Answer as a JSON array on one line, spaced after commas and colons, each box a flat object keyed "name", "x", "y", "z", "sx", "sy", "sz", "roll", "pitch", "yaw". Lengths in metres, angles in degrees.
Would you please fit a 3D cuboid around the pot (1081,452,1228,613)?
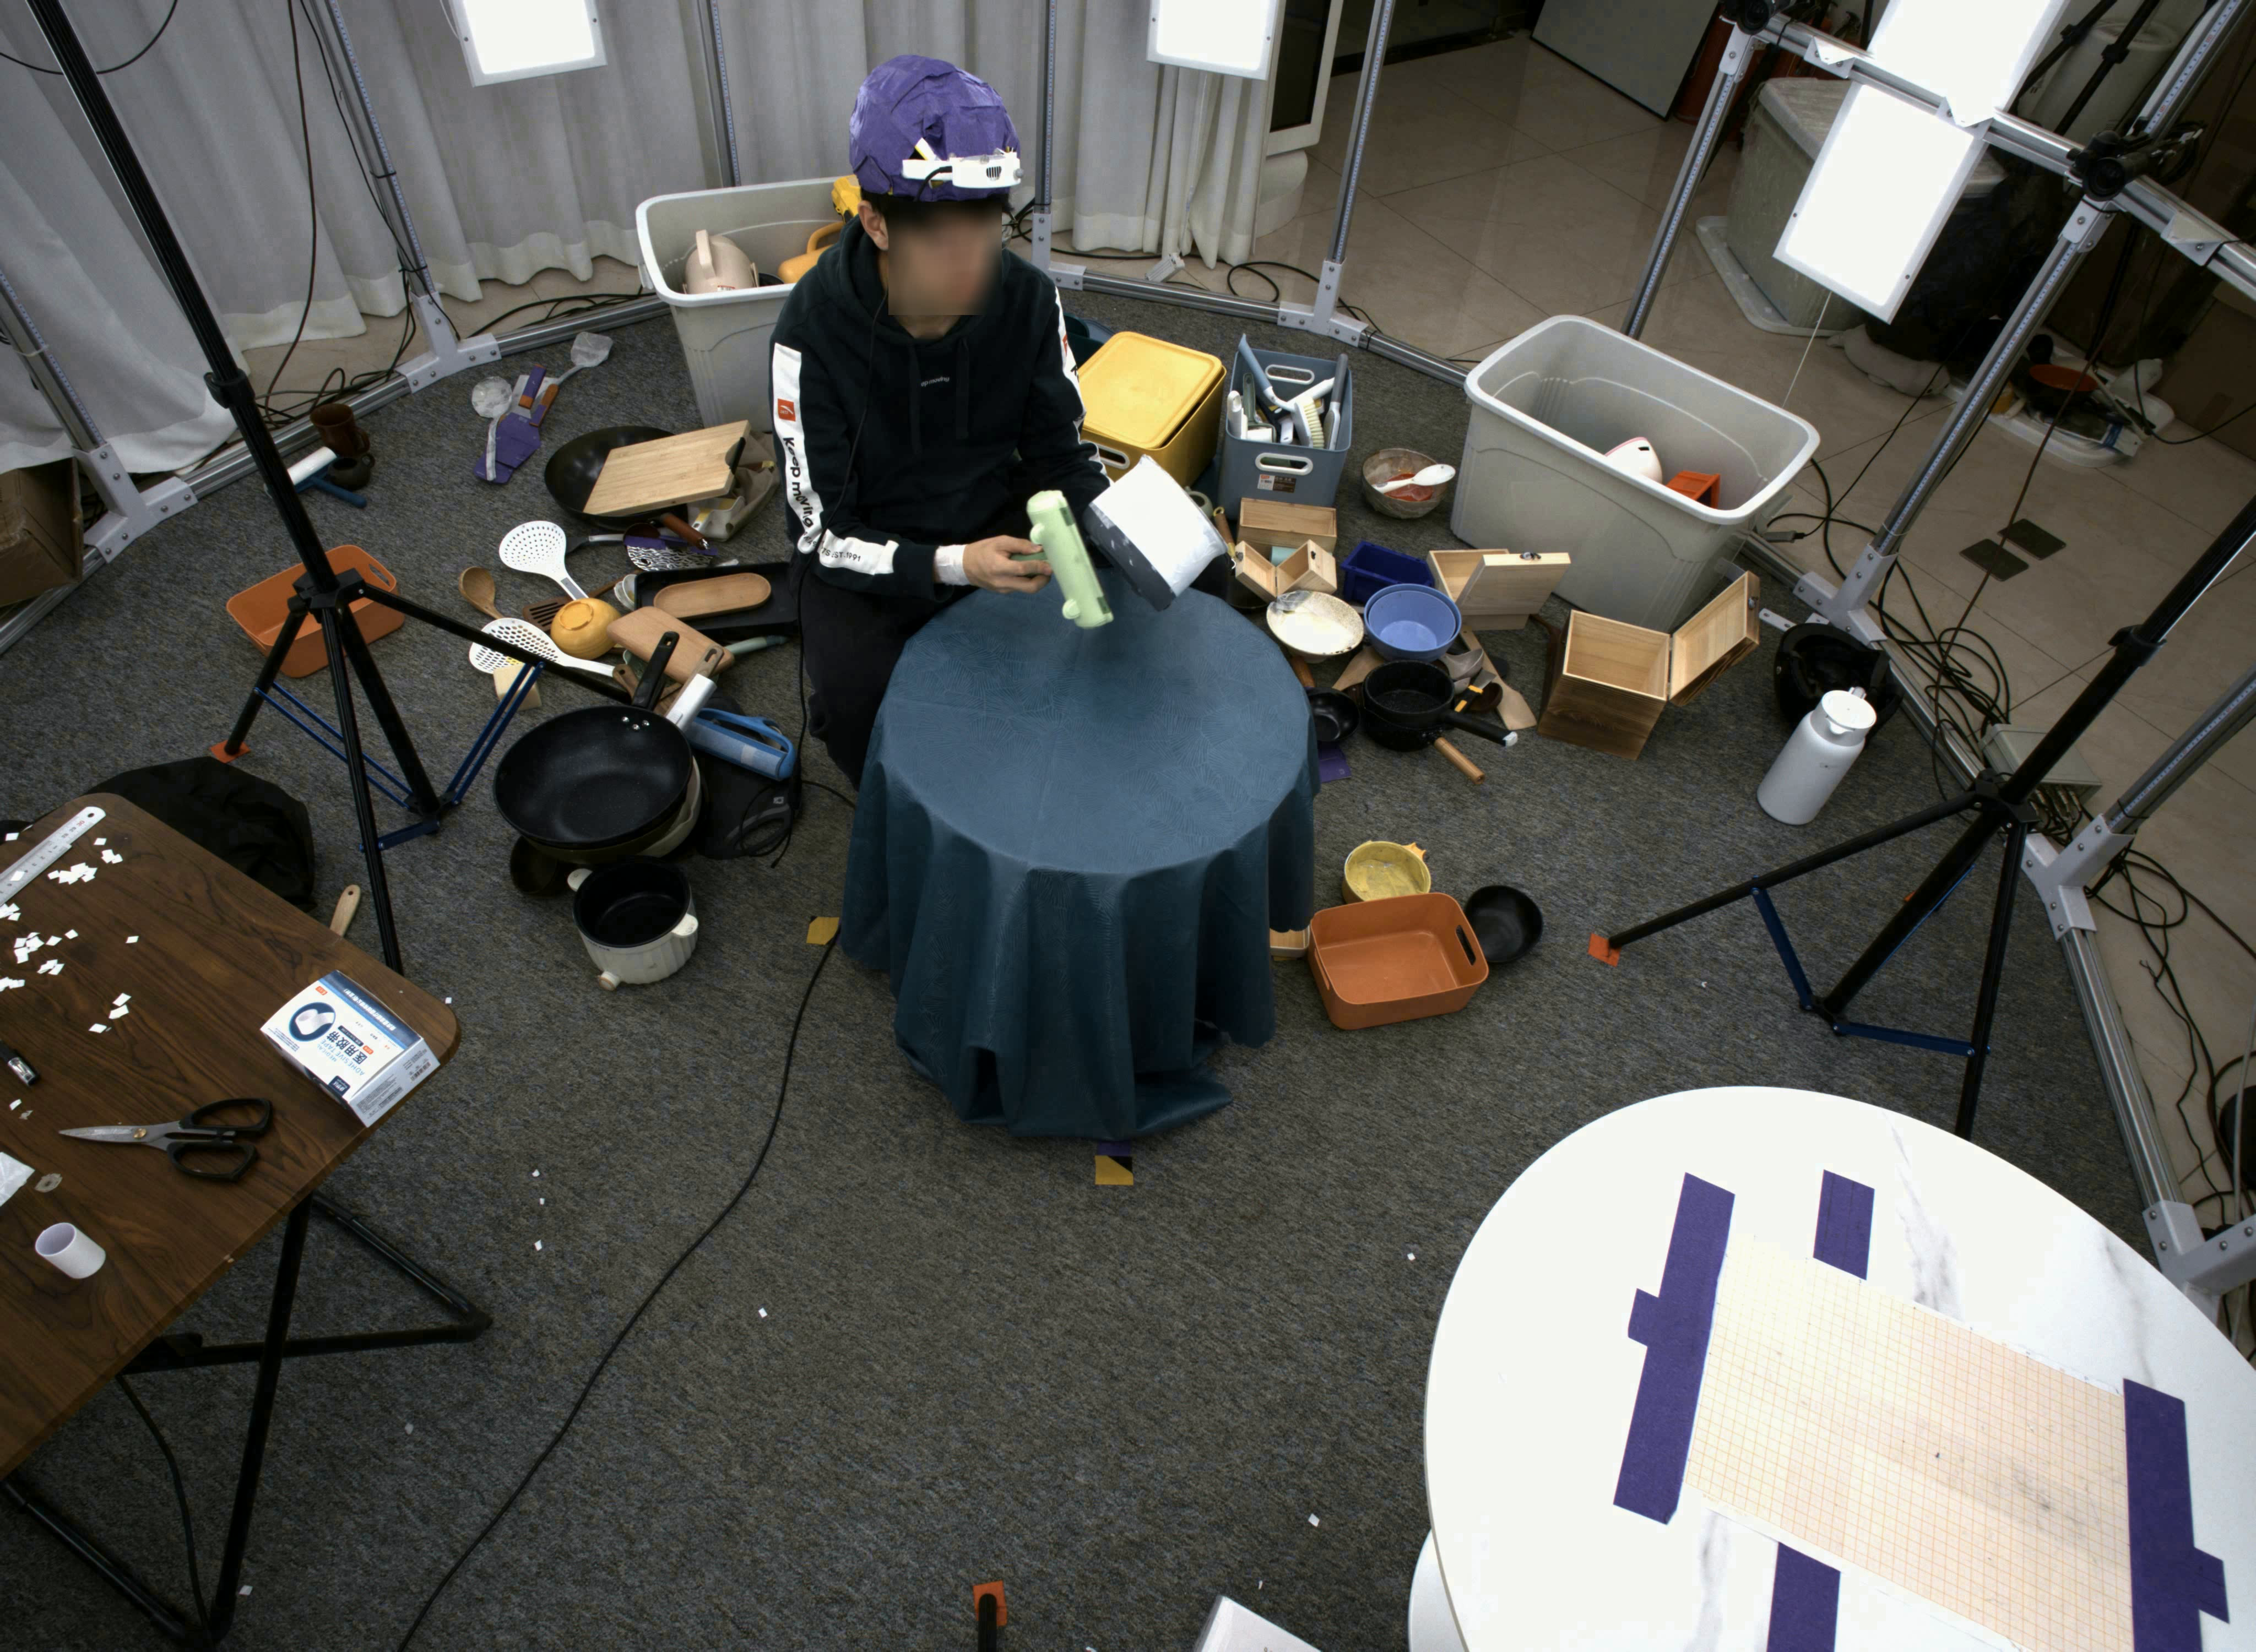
[{"name": "pot", "x": 0.031, "y": -0.410, "z": 1.809, "sx": 0.136, "sy": 0.177, "sz": 0.236, "roll": -41, "pitch": 11, "yaw": 5}]

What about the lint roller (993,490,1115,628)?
[{"name": "lint roller", "x": -0.127, "y": -0.360, "z": 1.798, "sx": 0.184, "sy": 0.194, "sz": 0.084, "roll": -4, "pitch": 36, "yaw": 32}]
